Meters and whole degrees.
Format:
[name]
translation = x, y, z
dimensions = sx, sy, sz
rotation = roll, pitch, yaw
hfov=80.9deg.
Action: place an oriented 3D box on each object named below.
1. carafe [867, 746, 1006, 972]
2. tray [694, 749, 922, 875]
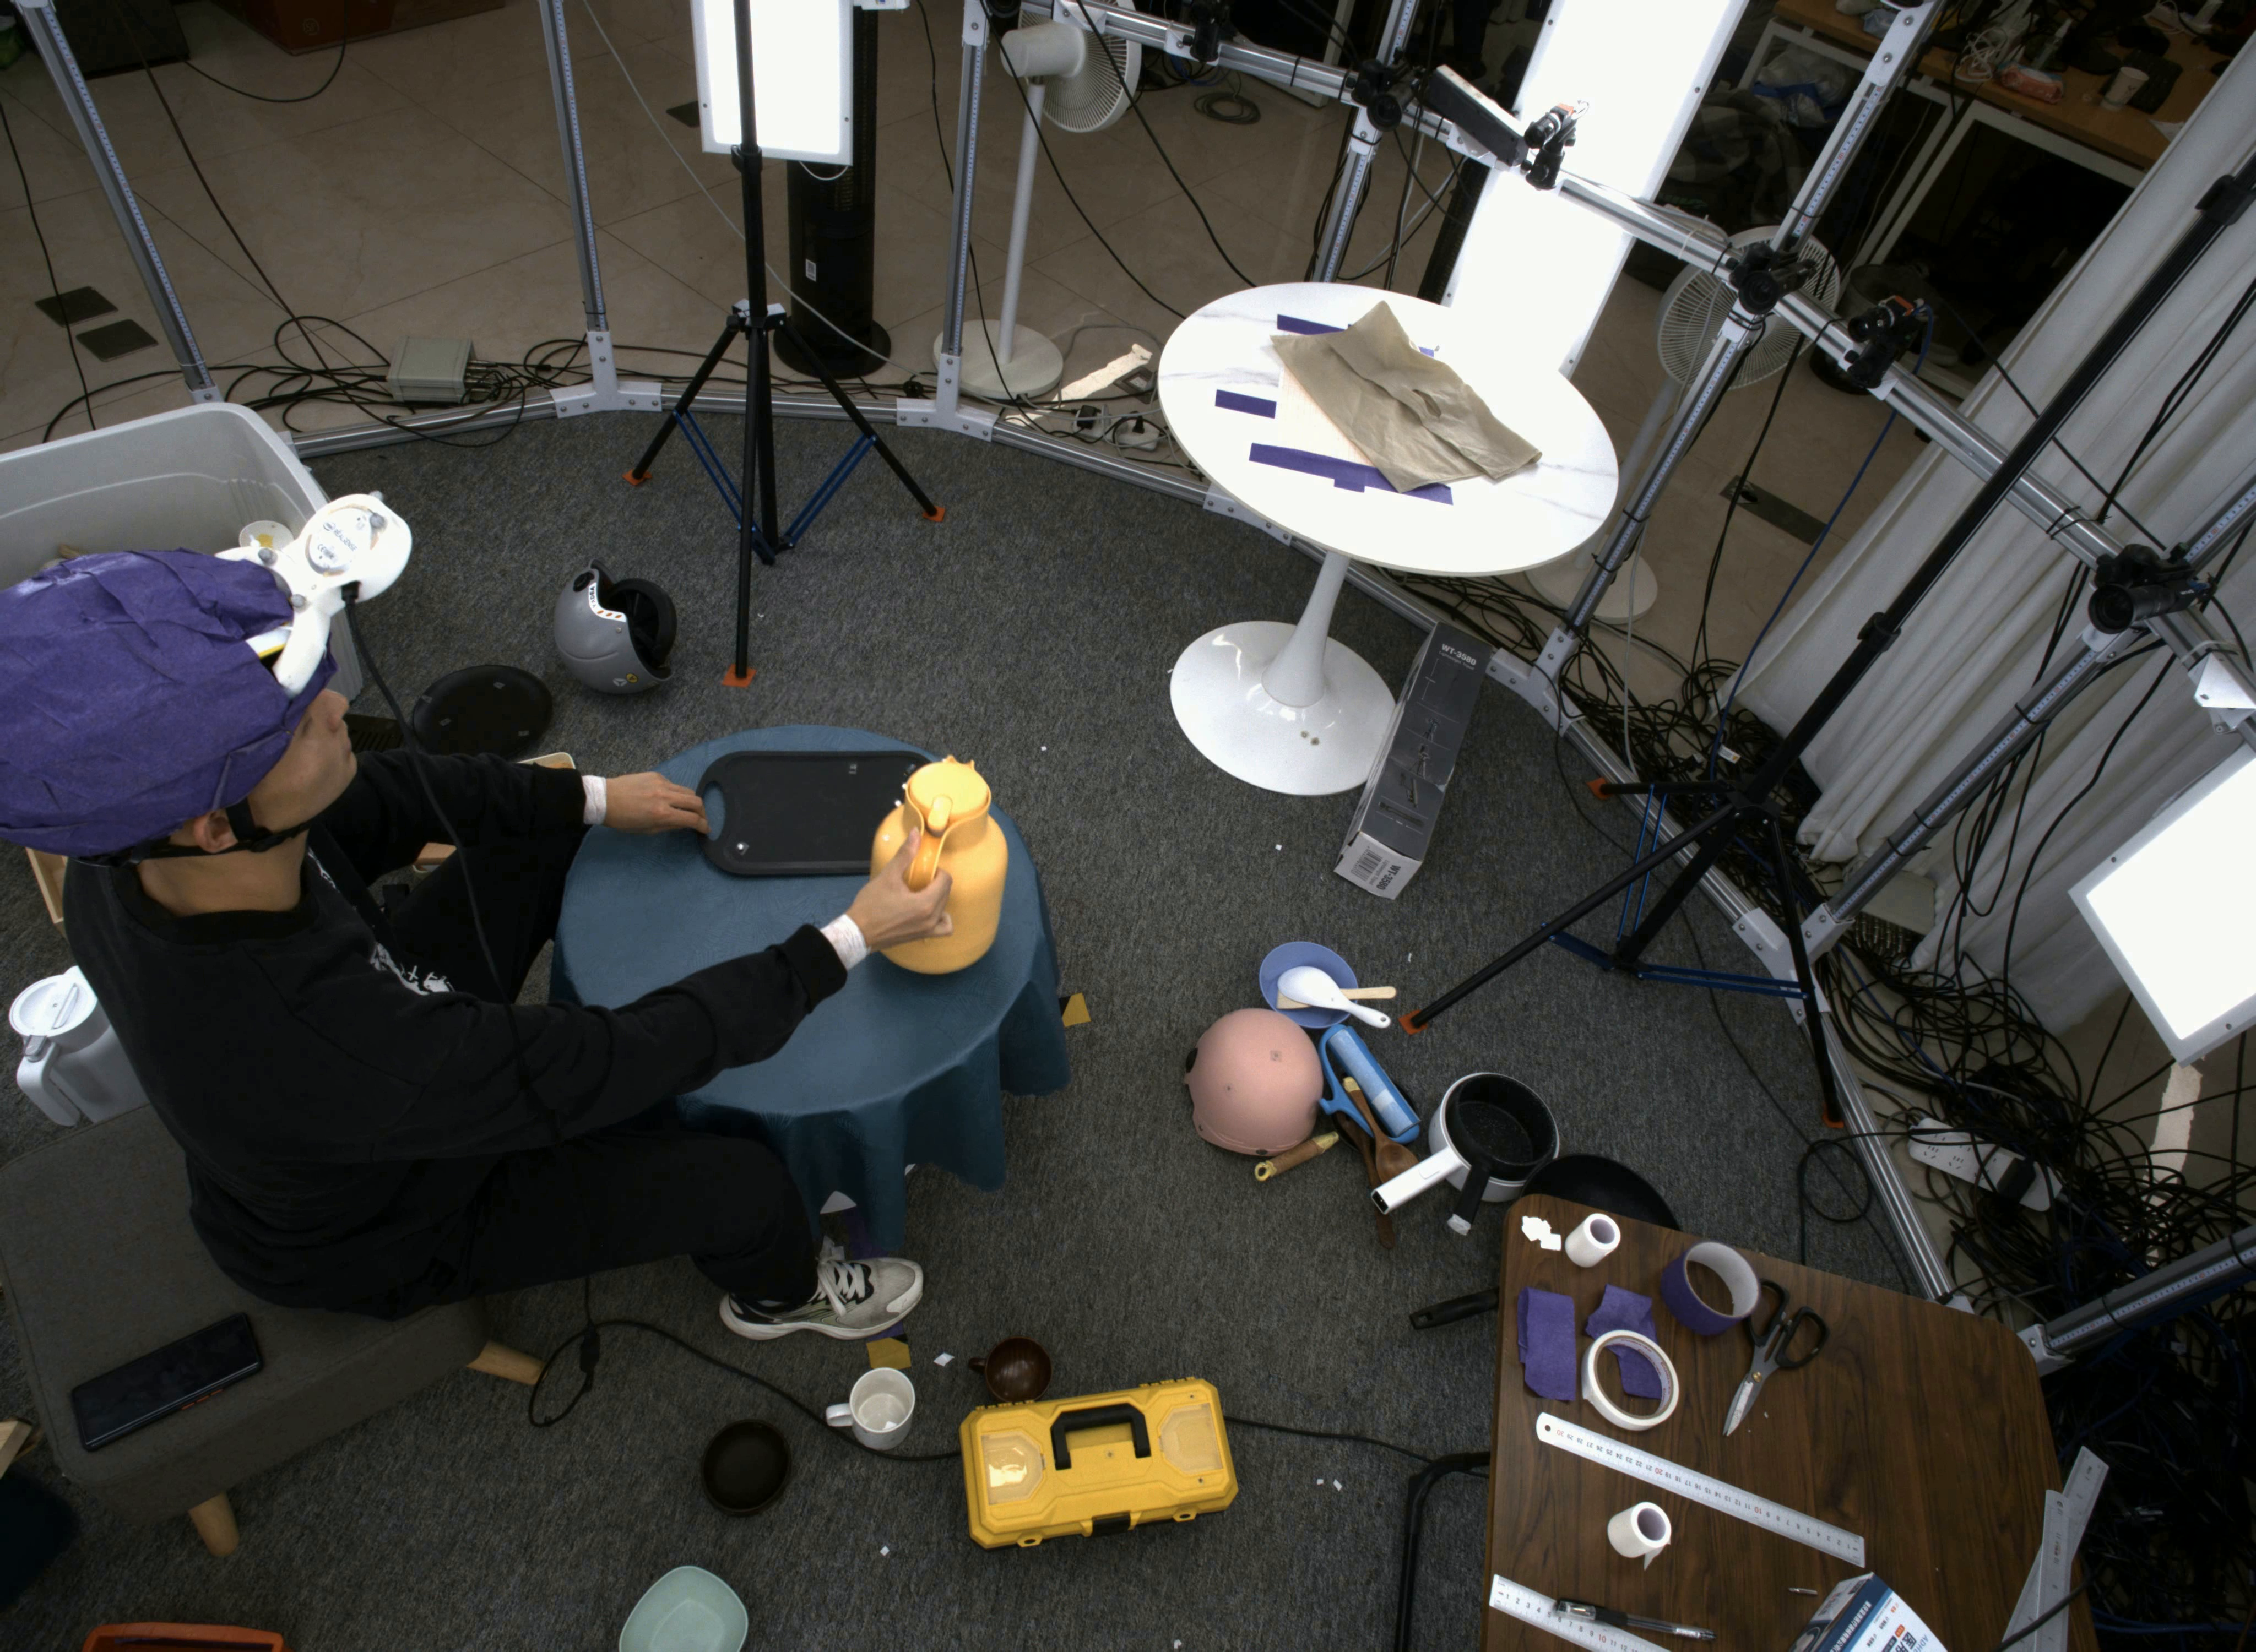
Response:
[carafe]
translation = -0.230, 0.049, 1.531
dimensions = 0.162, 0.267, 0.199
rotation = 11, 40, 0
[tray]
translation = -0.412, -0.023, 1.731
dimensions = 0.327, 0.010, 0.206
rotation = 0, 53, -17
